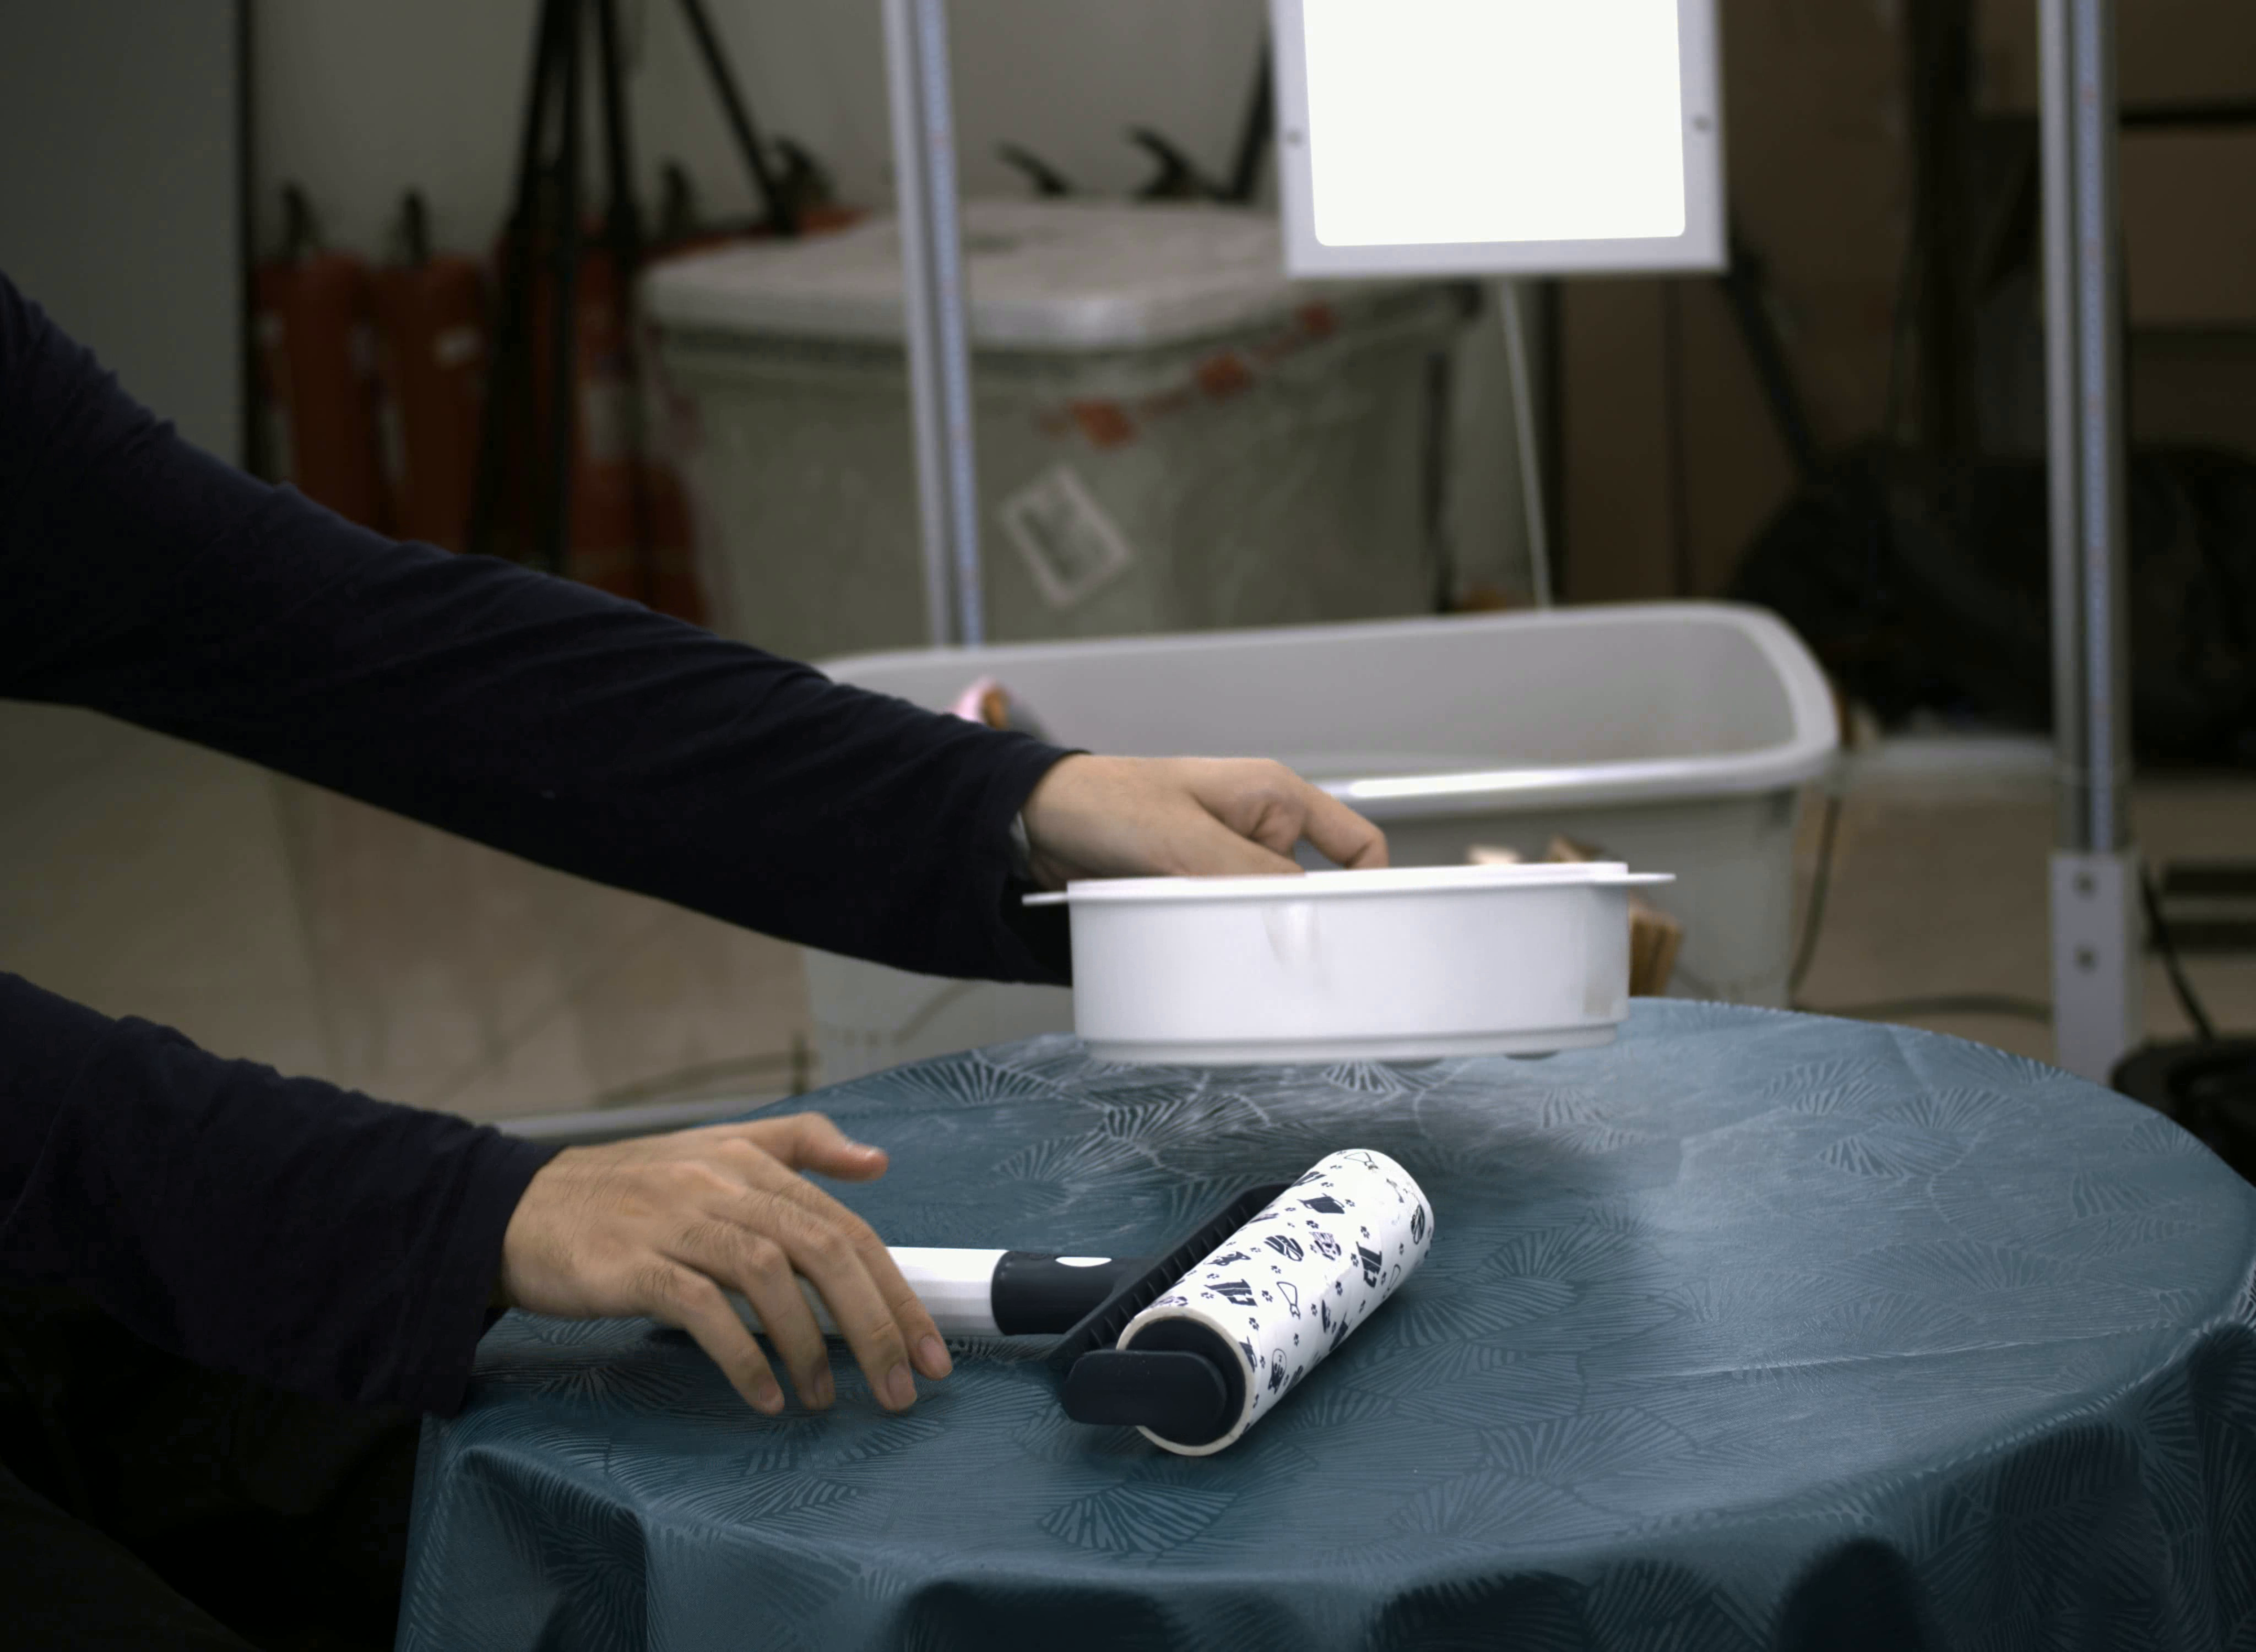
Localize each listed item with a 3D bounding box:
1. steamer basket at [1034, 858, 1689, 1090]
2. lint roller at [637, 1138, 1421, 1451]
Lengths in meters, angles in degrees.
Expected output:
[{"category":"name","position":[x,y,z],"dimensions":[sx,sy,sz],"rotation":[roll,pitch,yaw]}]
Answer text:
[{"category":"steamer basket","position":[0.083,0.053,1.914],"dimensions":[0.233,0.069,0.199],"rotation":[-5,-1,17]},{"category":"lint roller","position":[-0.047,0.148,1.749],"dimensions":[0.251,0.050,0.173],"rotation":[-3,14,25]}]
